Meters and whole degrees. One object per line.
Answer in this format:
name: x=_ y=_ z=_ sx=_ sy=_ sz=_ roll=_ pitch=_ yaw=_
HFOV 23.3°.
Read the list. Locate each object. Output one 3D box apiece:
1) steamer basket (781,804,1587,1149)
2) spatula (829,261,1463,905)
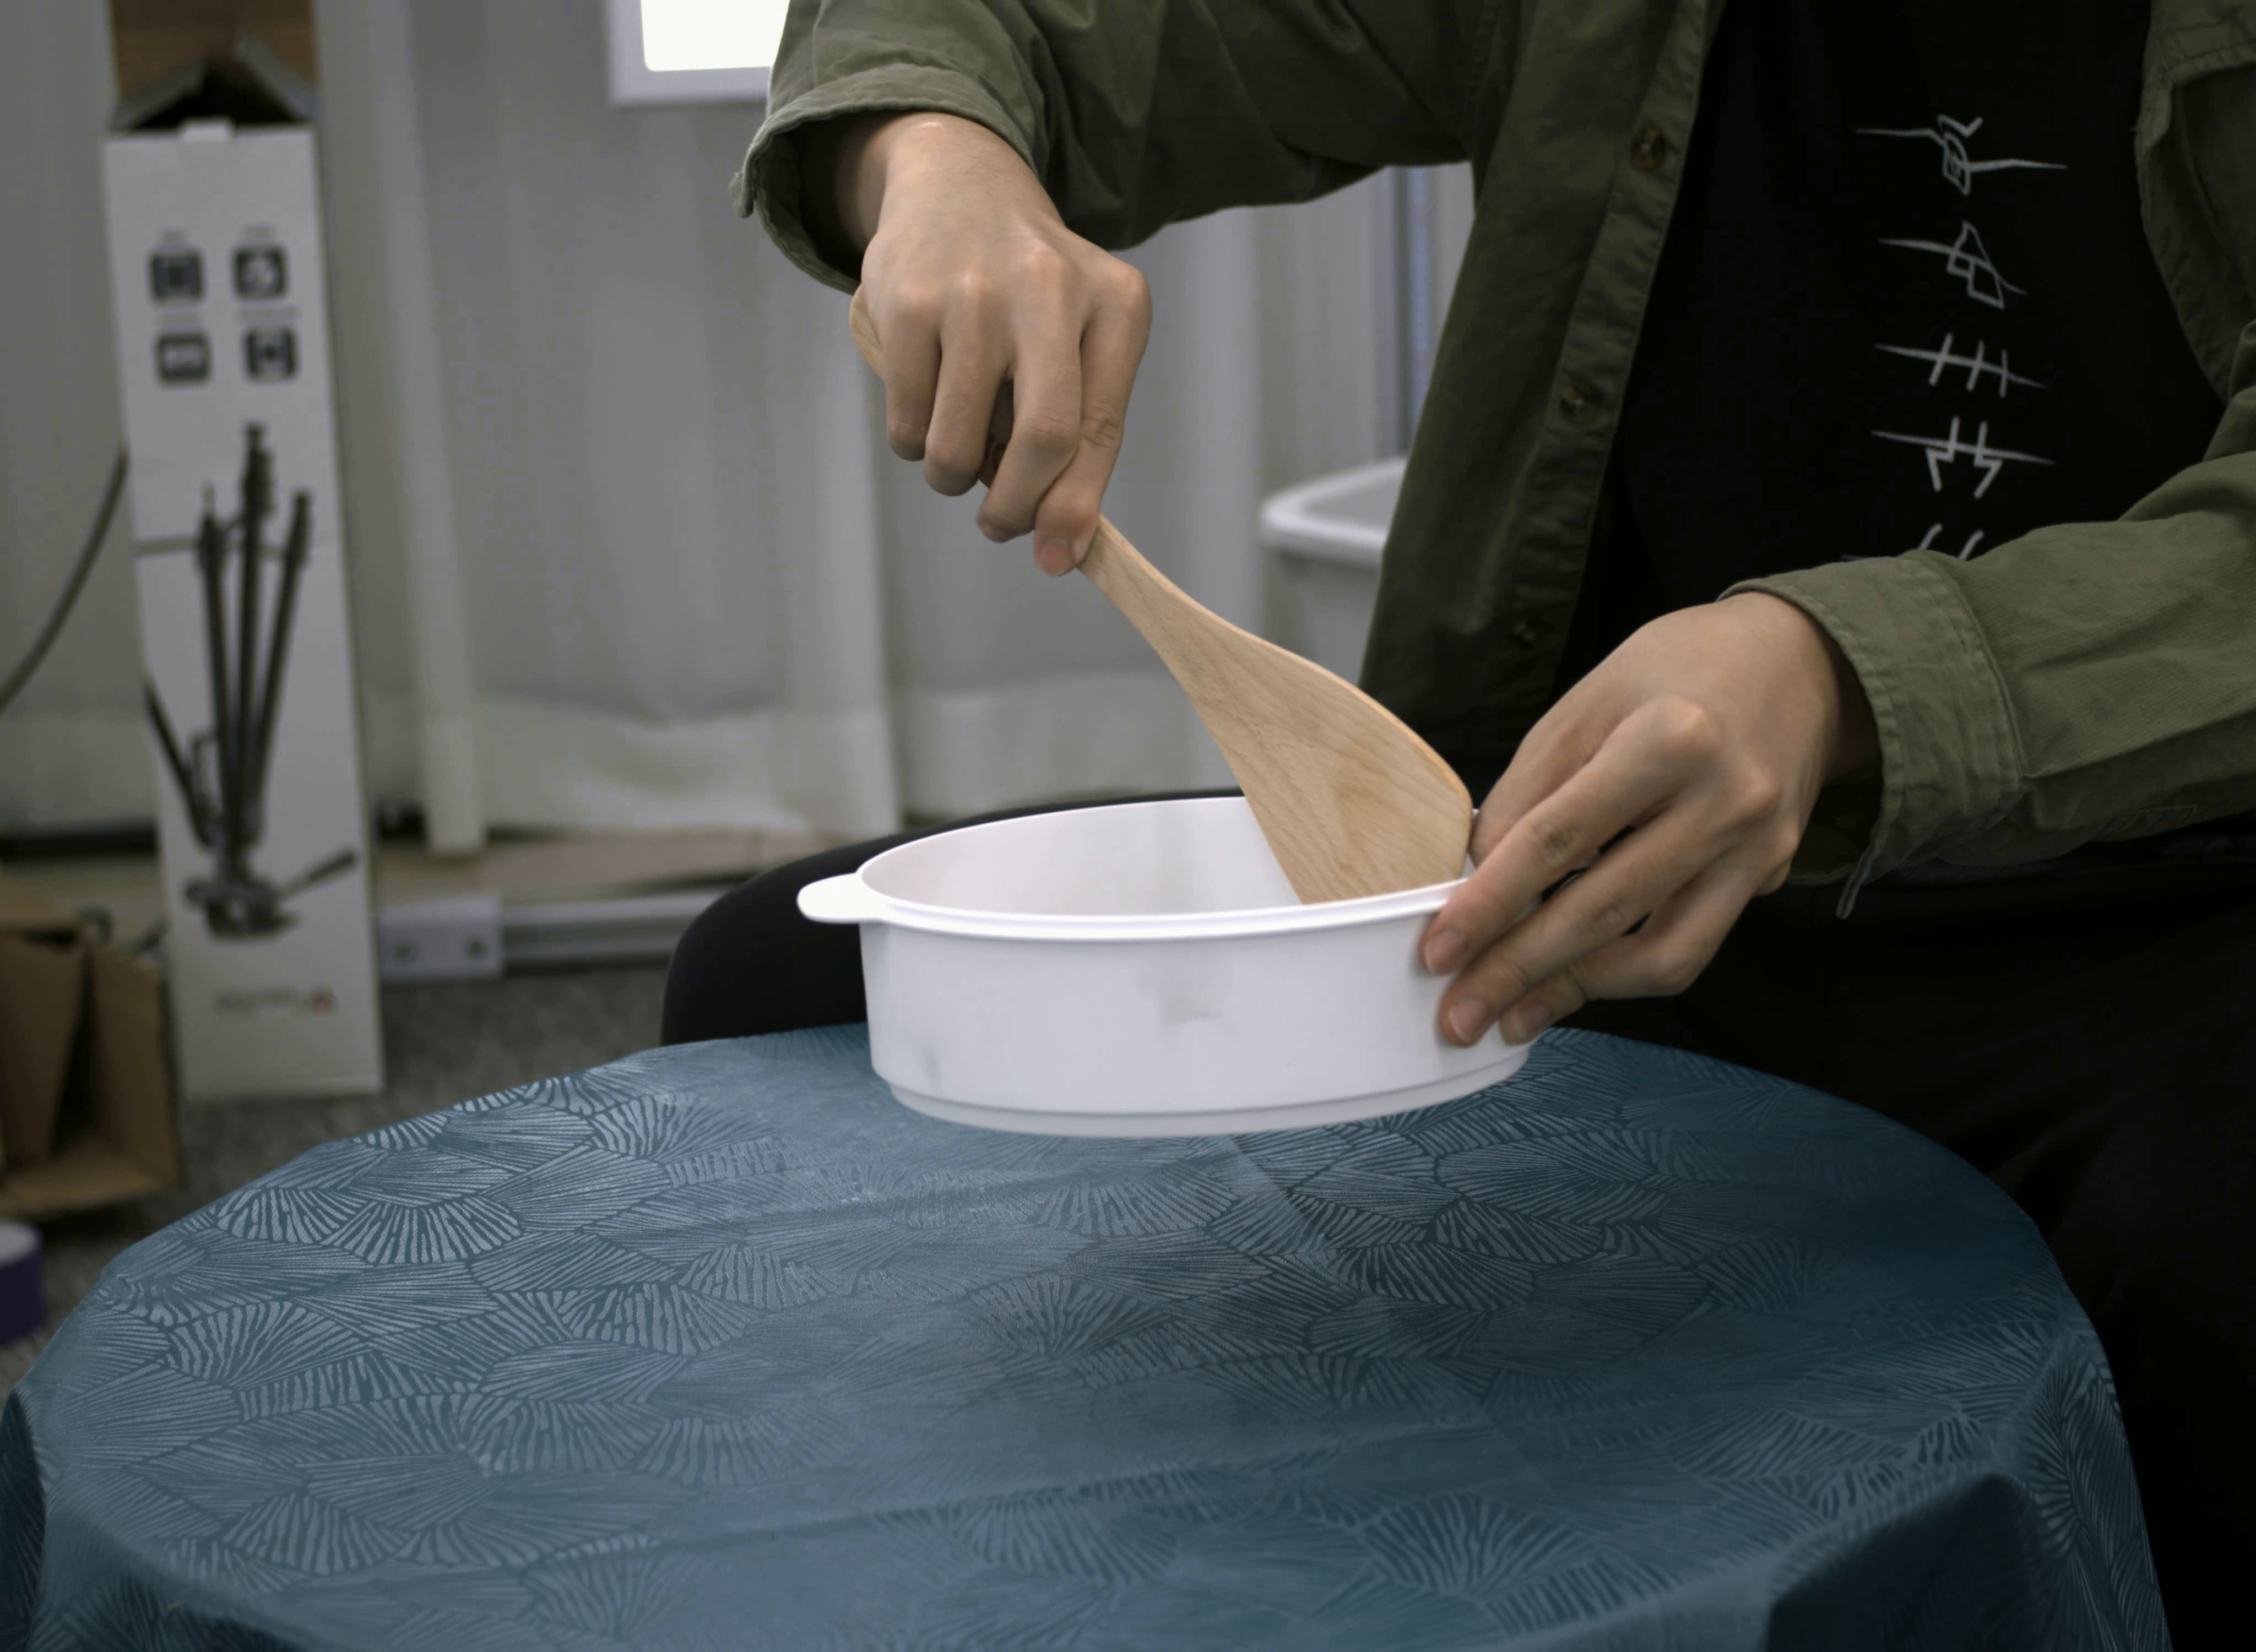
steamer basket: x=0.017 y=0.043 z=1.569 sx=0.229 sy=0.069 sz=0.203 roll=-3 pitch=9 yaw=-5
spatula: x=-0.001 y=-0.074 z=1.644 sx=0.016 sy=0.079 sz=0.331 roll=-10 pitch=44 yaw=-39
